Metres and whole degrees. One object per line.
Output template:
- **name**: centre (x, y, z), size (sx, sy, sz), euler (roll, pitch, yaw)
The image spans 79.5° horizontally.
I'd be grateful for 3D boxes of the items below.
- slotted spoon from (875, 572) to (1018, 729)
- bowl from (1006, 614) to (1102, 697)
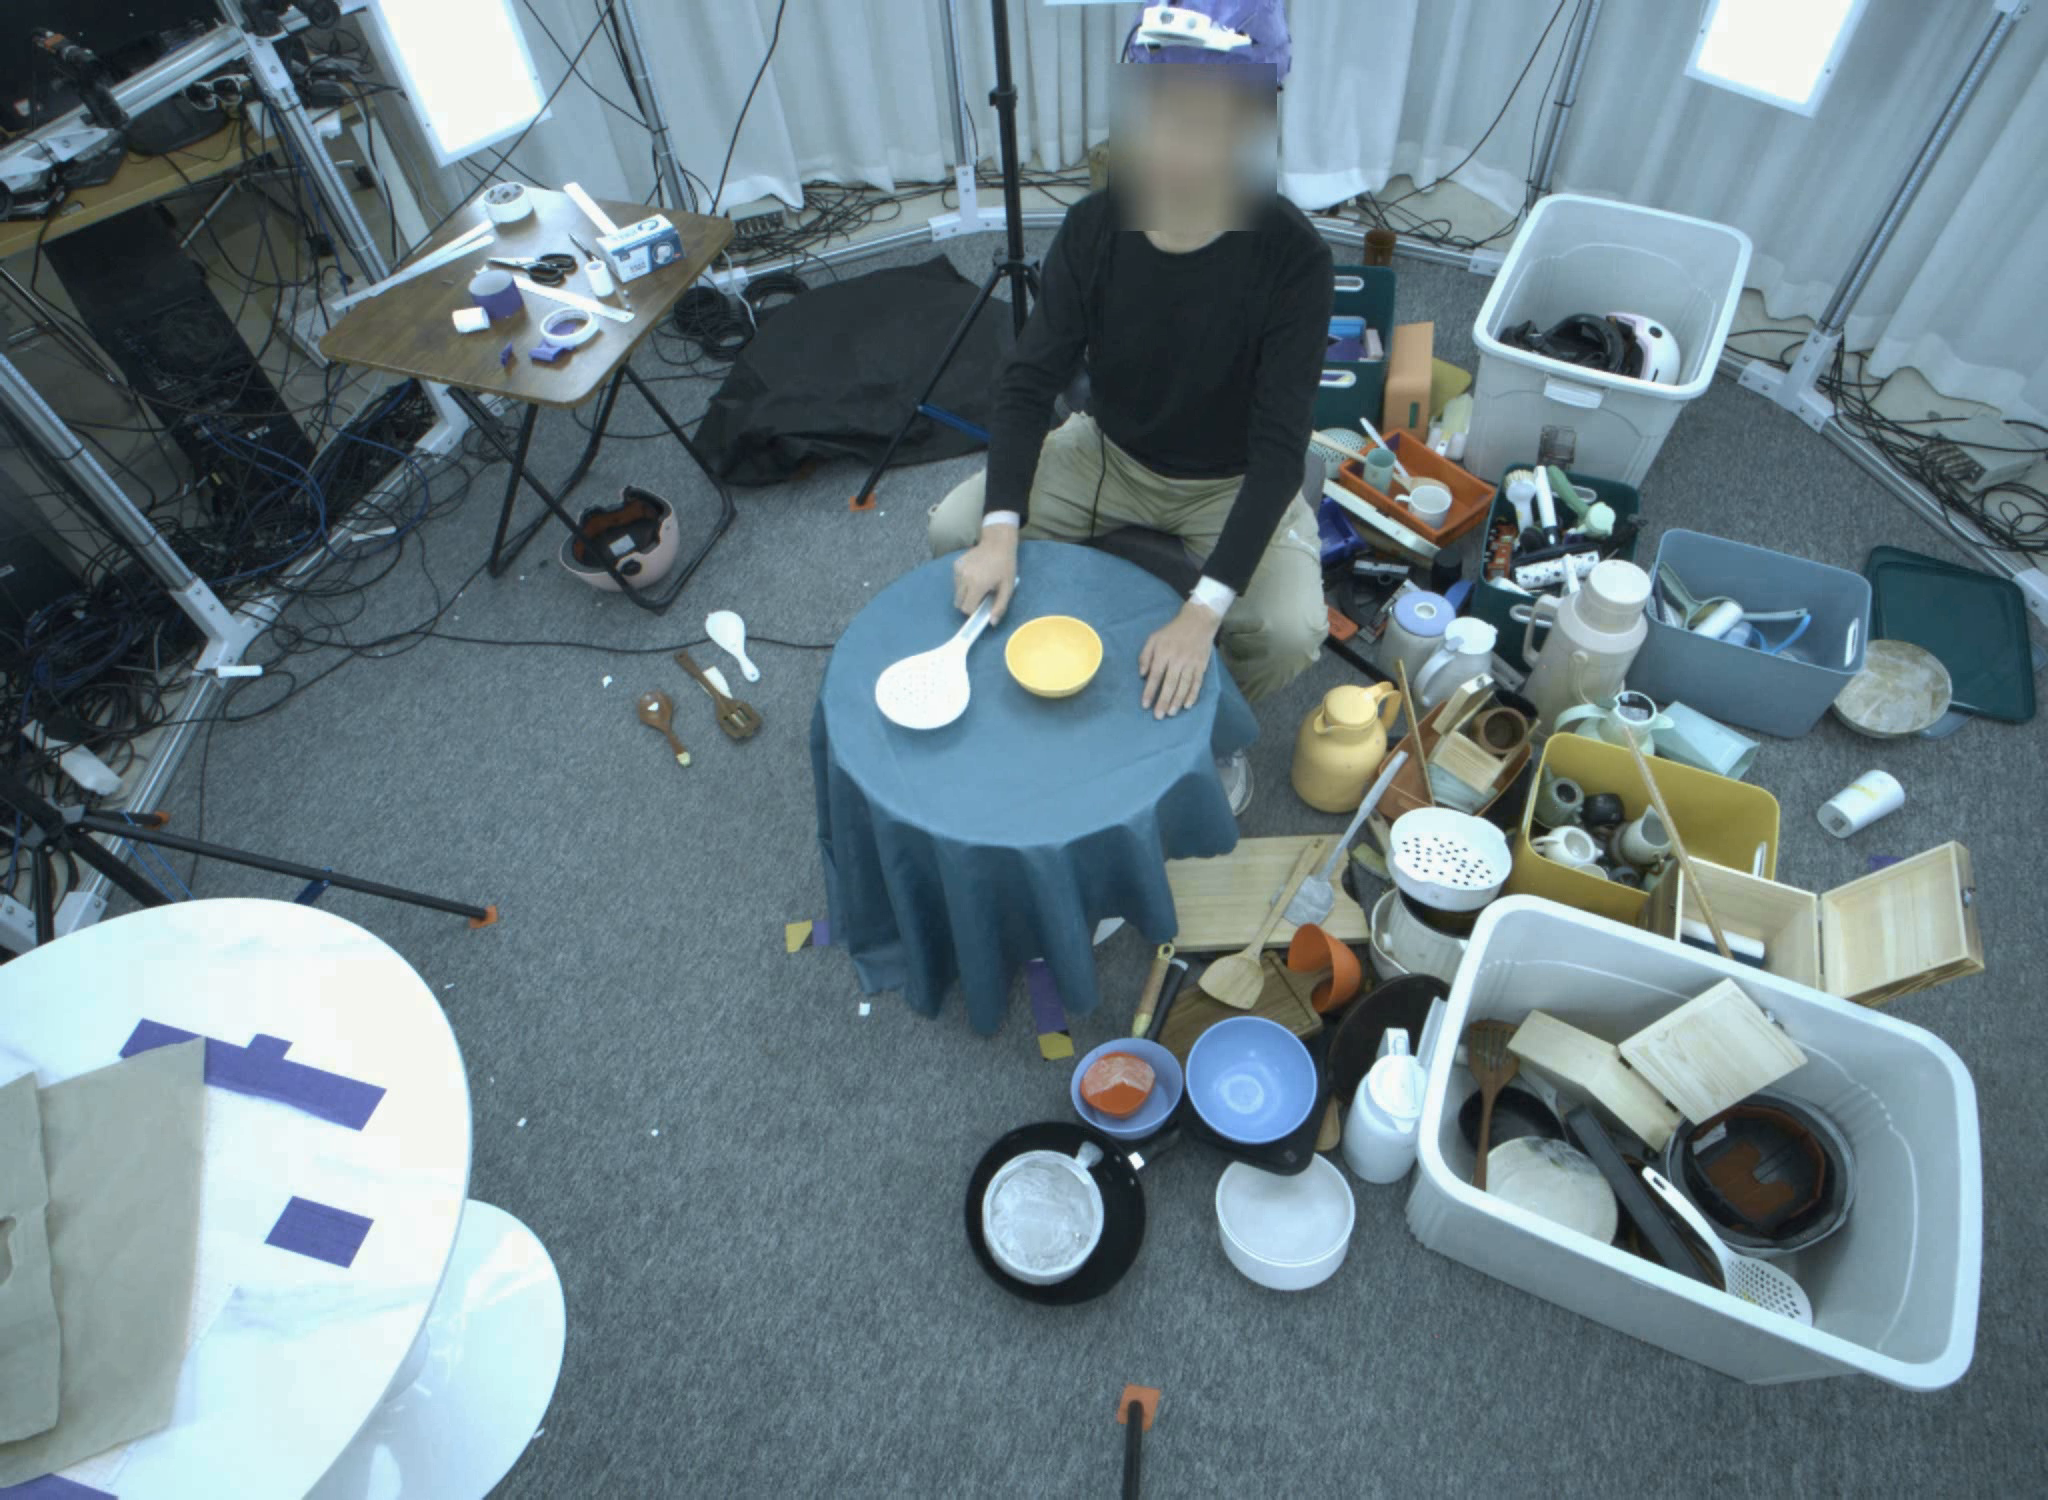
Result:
- **slotted spoon**: centre (-0.102, -0.157, 1.869), size (0.135, 0.046, 0.350), euler (25, 60, 12)
- **bowl**: centre (0.045, -0.130, 1.844), size (0.145, 0.061, 0.144), euler (0, 57, 2)
